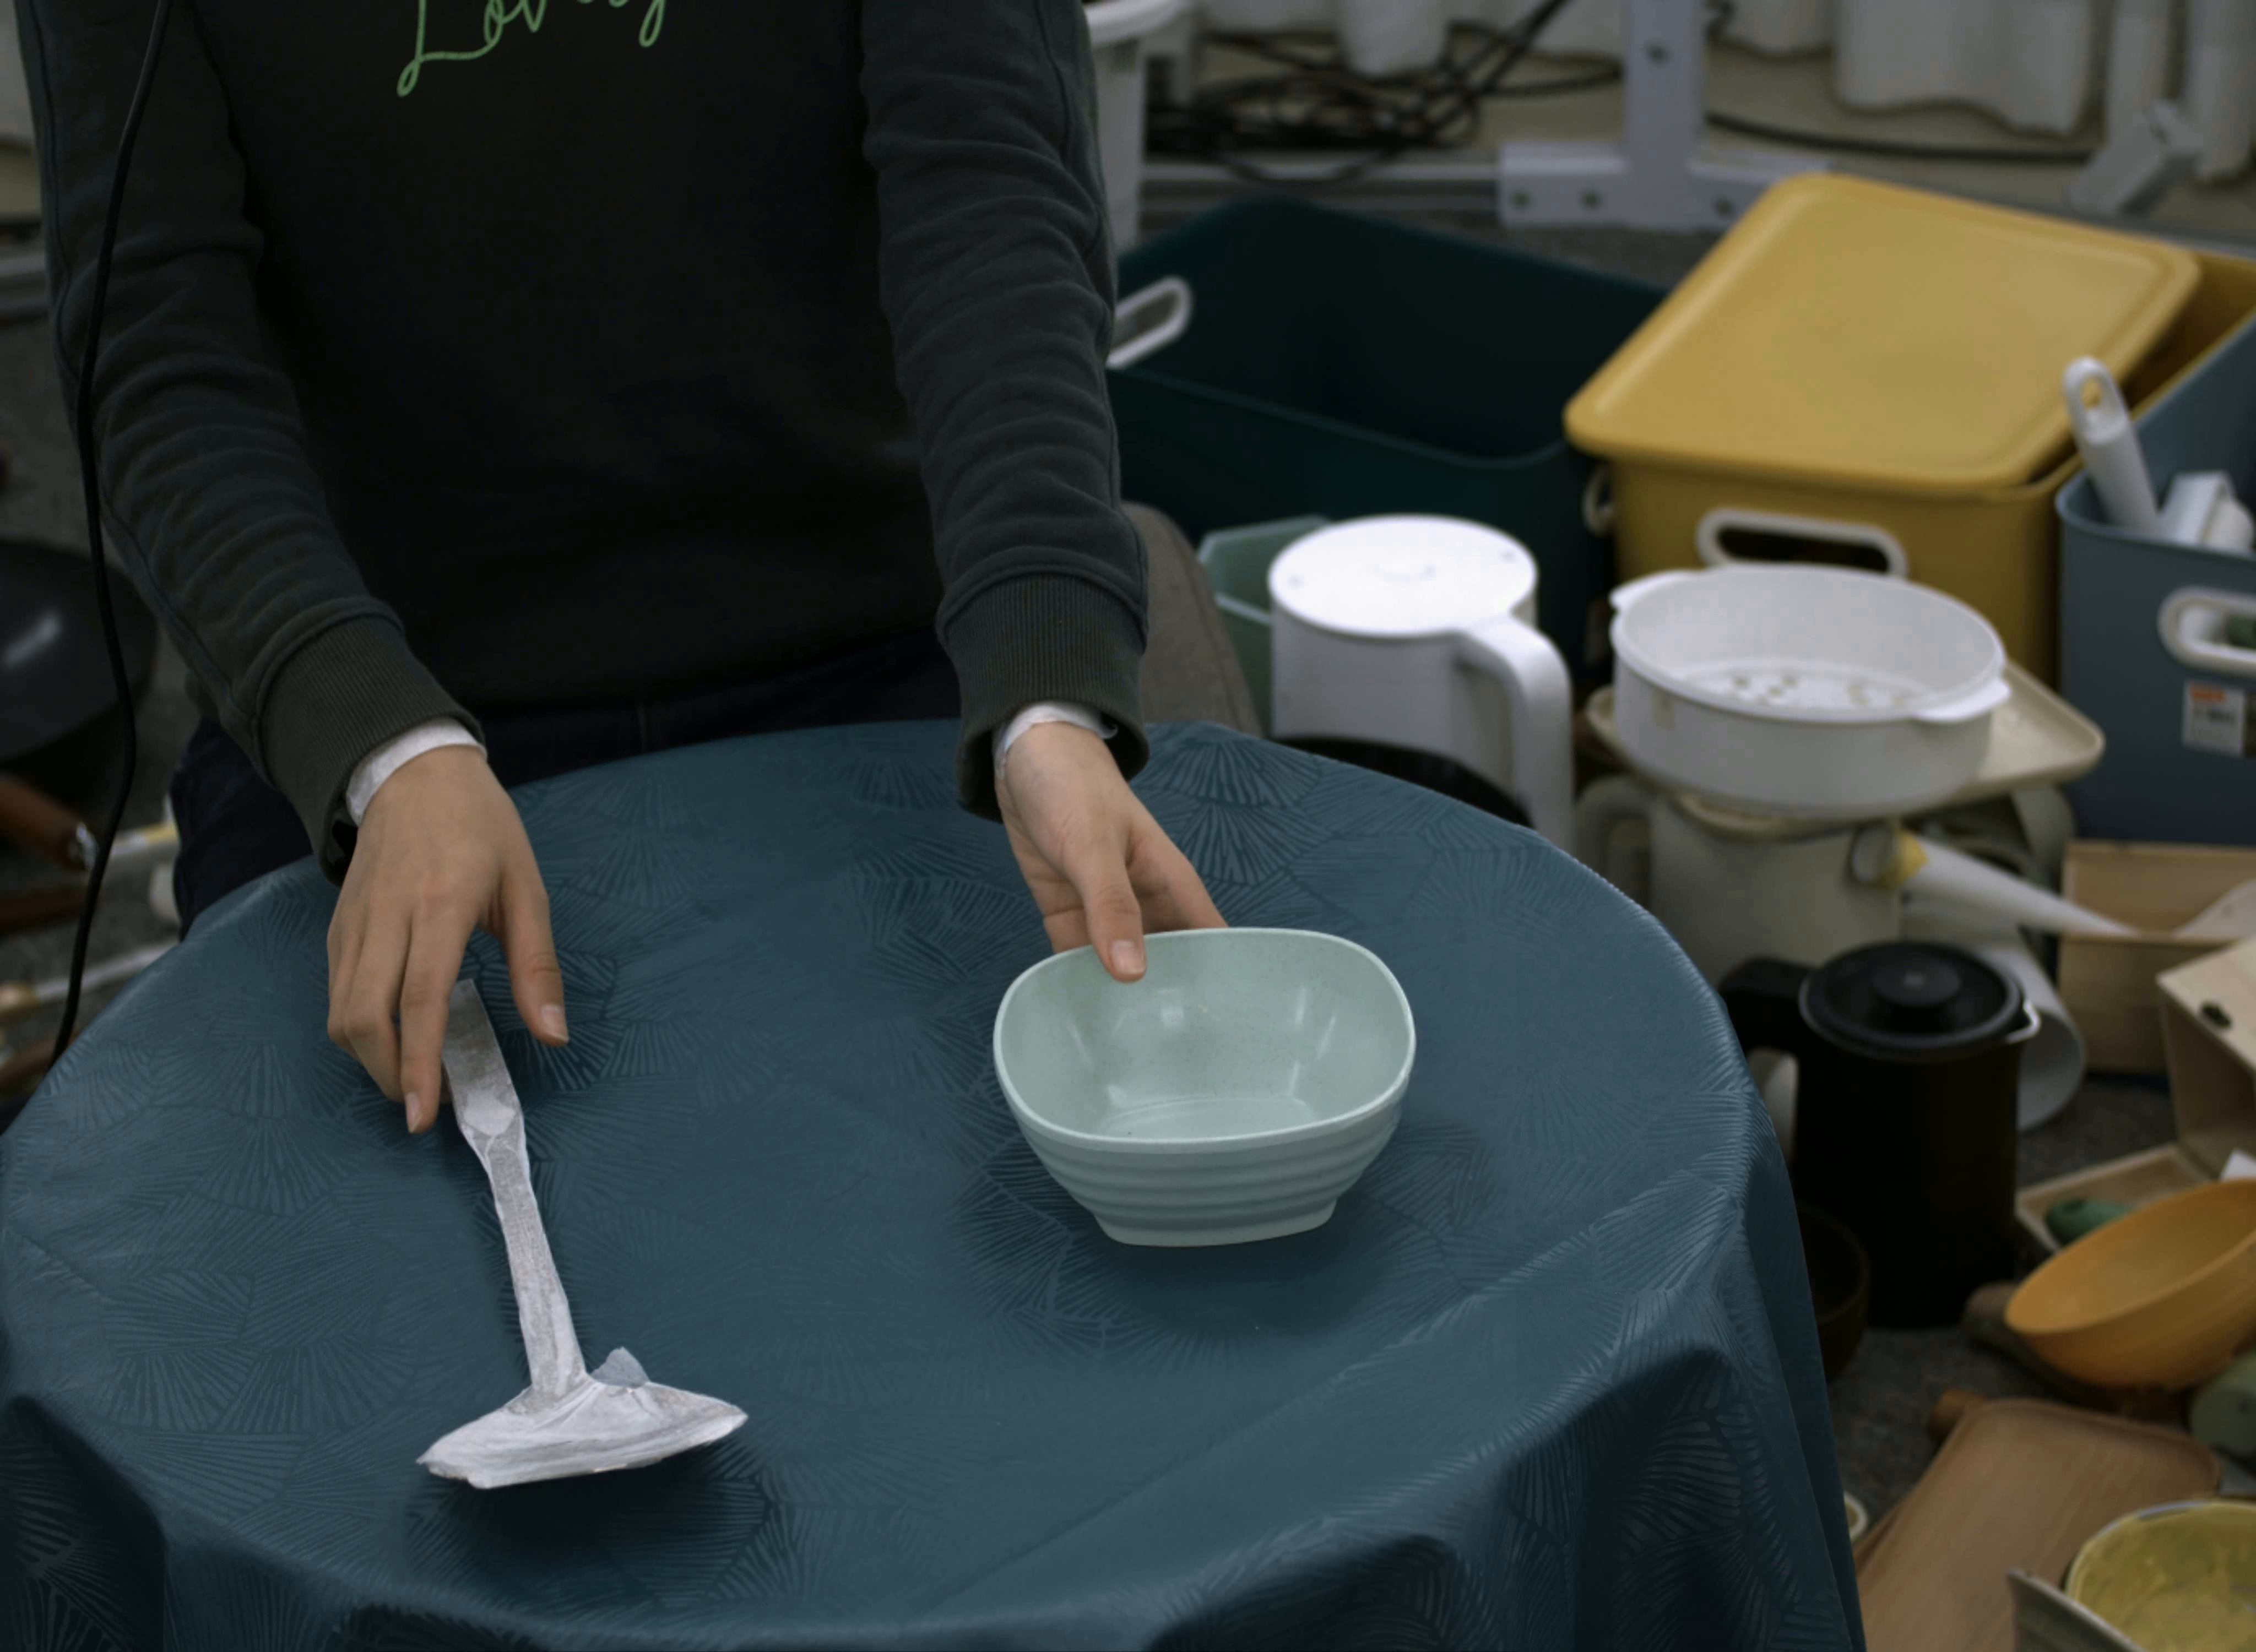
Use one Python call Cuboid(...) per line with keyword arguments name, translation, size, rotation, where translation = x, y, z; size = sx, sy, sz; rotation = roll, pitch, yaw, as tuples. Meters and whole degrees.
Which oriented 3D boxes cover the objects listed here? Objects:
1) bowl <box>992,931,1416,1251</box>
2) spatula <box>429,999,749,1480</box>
Cuboid(name="bowl", translation=(0.025, 0.094, 1.854), size=(0.151, 0.058, 0.154), rotation=(0, 28, 0))
Cuboid(name="spatula", translation=(-0.194, 0.126, 1.829), size=(0.098, 0.044, 0.369), rotation=(-10, 28, -9))
